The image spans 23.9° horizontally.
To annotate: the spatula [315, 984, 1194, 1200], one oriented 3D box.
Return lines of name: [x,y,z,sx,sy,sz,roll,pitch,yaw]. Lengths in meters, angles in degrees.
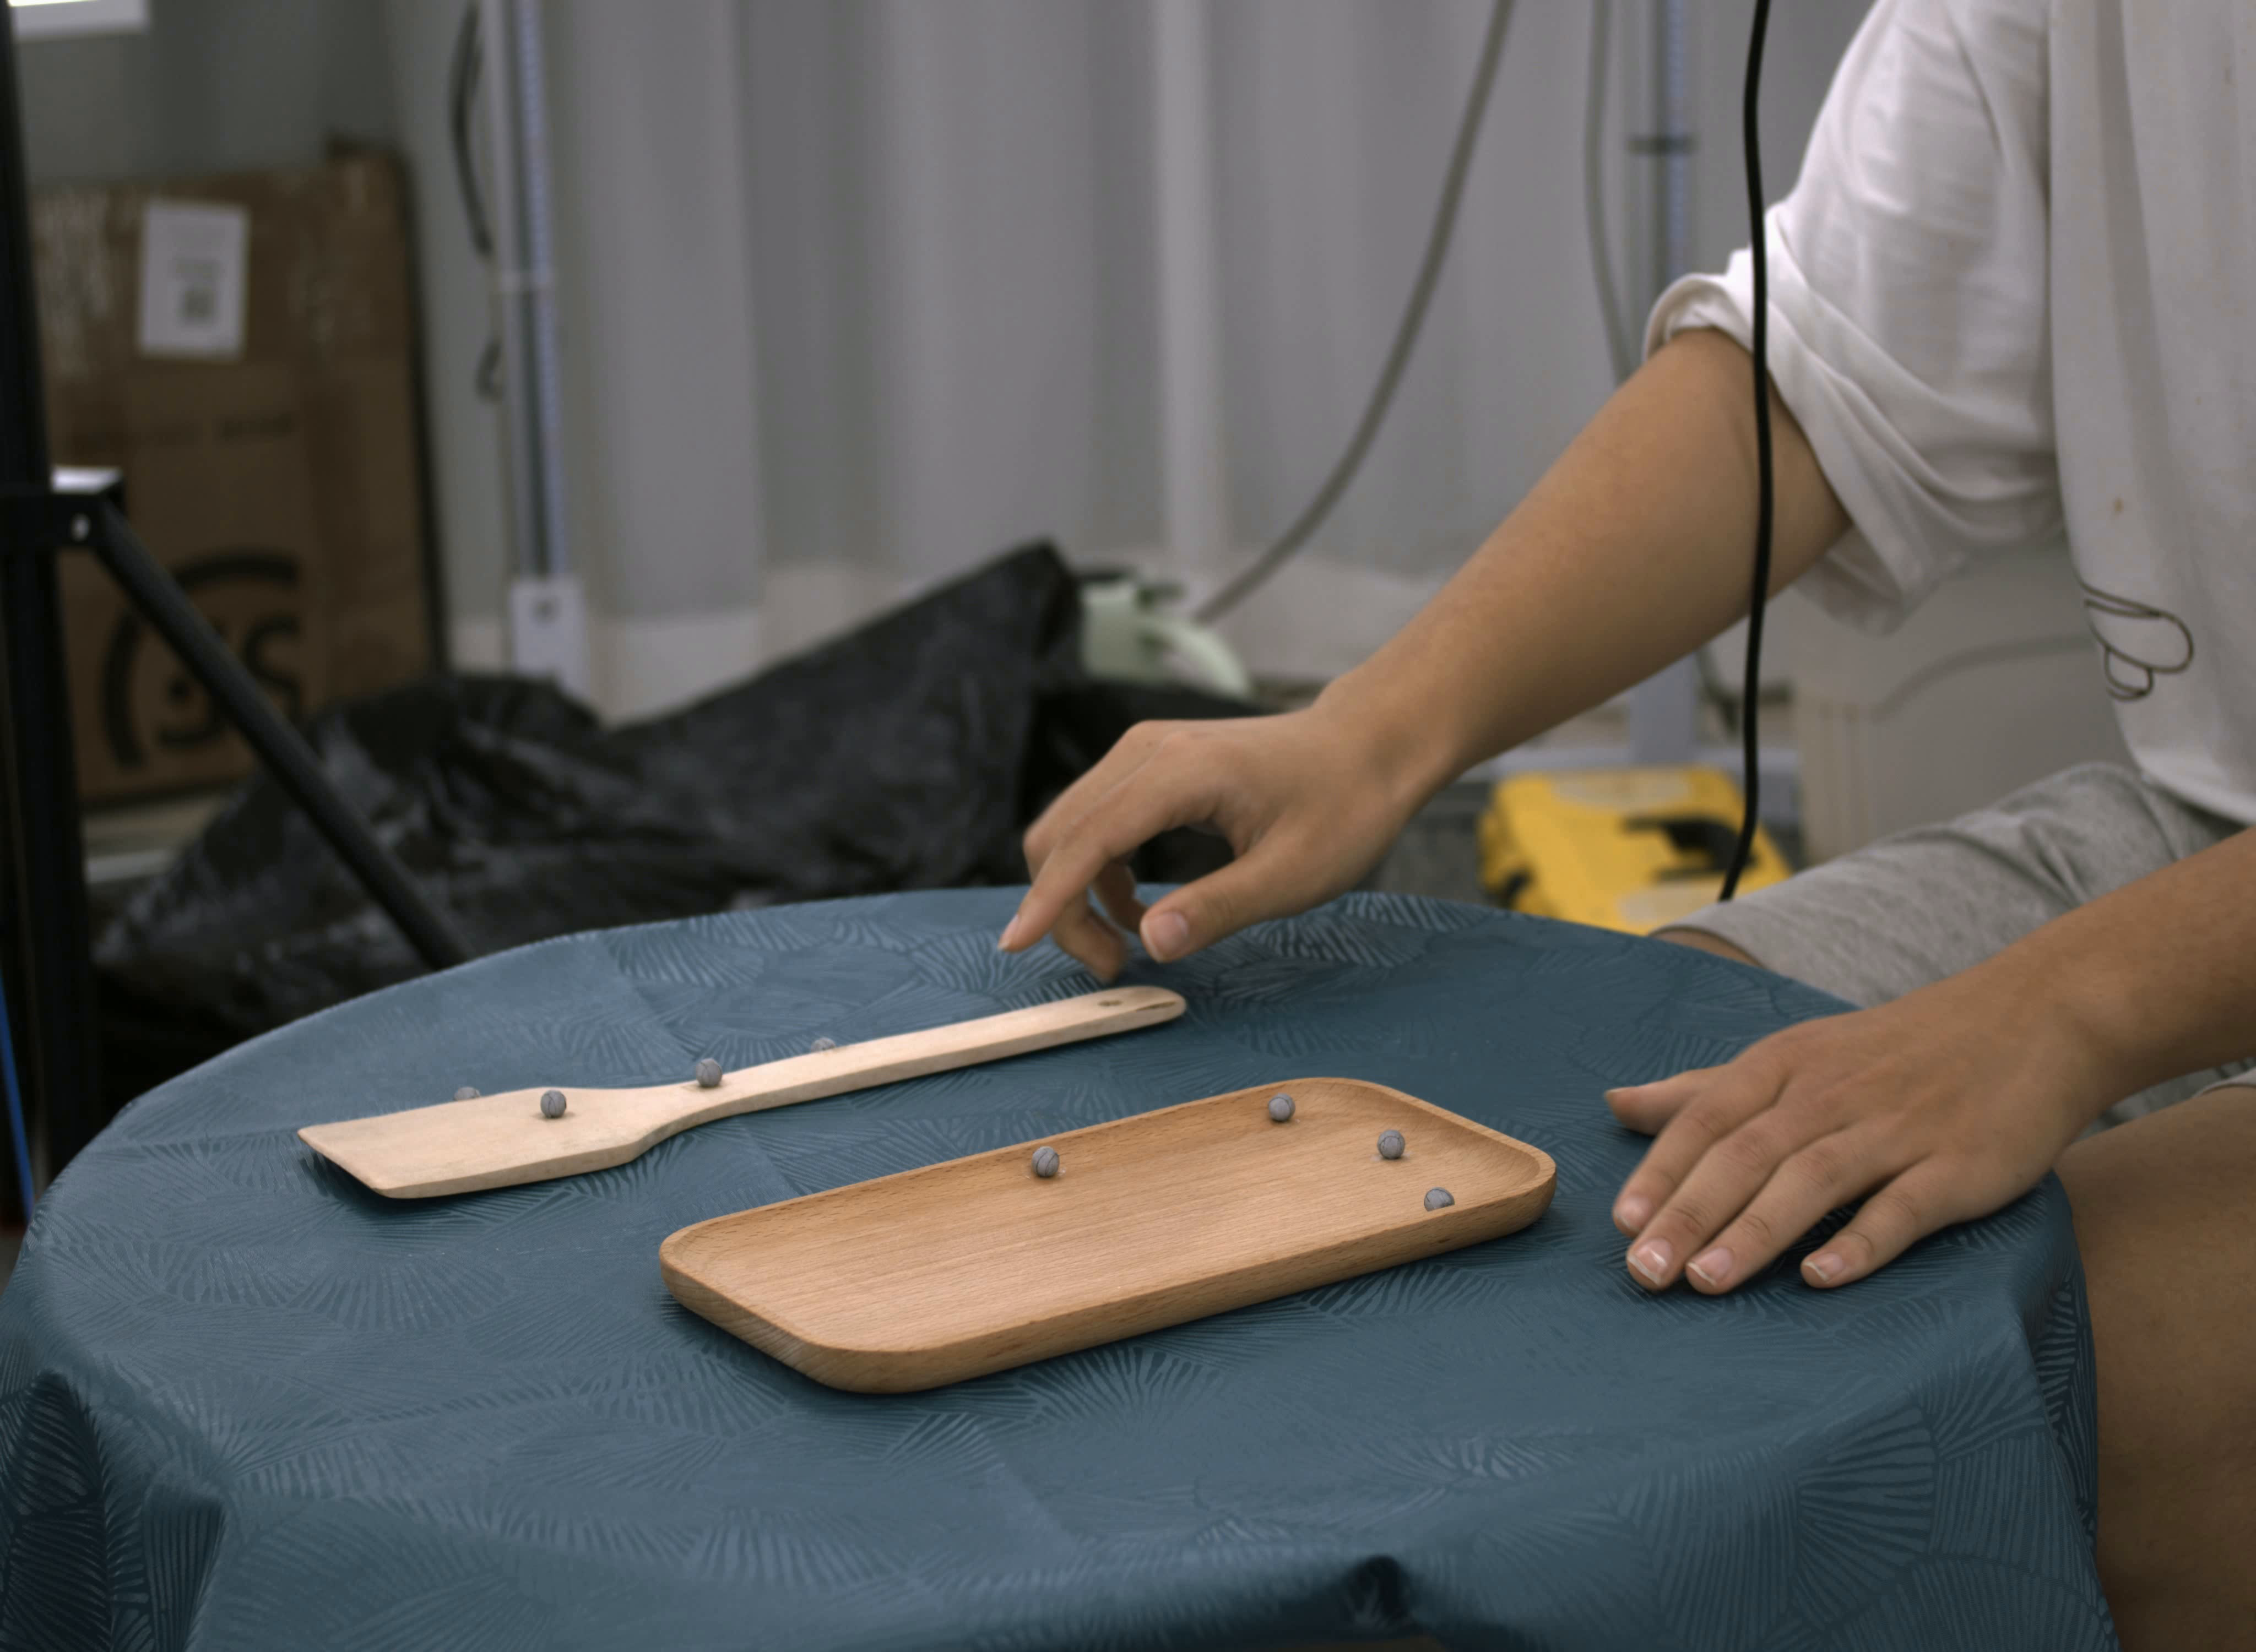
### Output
spatula: [-0.107,0.080,1.660,0.287,0.010,0.074,-11,16,-27]

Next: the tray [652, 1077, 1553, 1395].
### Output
tray: [-0.005,0.115,1.508,0.245,0.023,0.133,-12,16,-29]
